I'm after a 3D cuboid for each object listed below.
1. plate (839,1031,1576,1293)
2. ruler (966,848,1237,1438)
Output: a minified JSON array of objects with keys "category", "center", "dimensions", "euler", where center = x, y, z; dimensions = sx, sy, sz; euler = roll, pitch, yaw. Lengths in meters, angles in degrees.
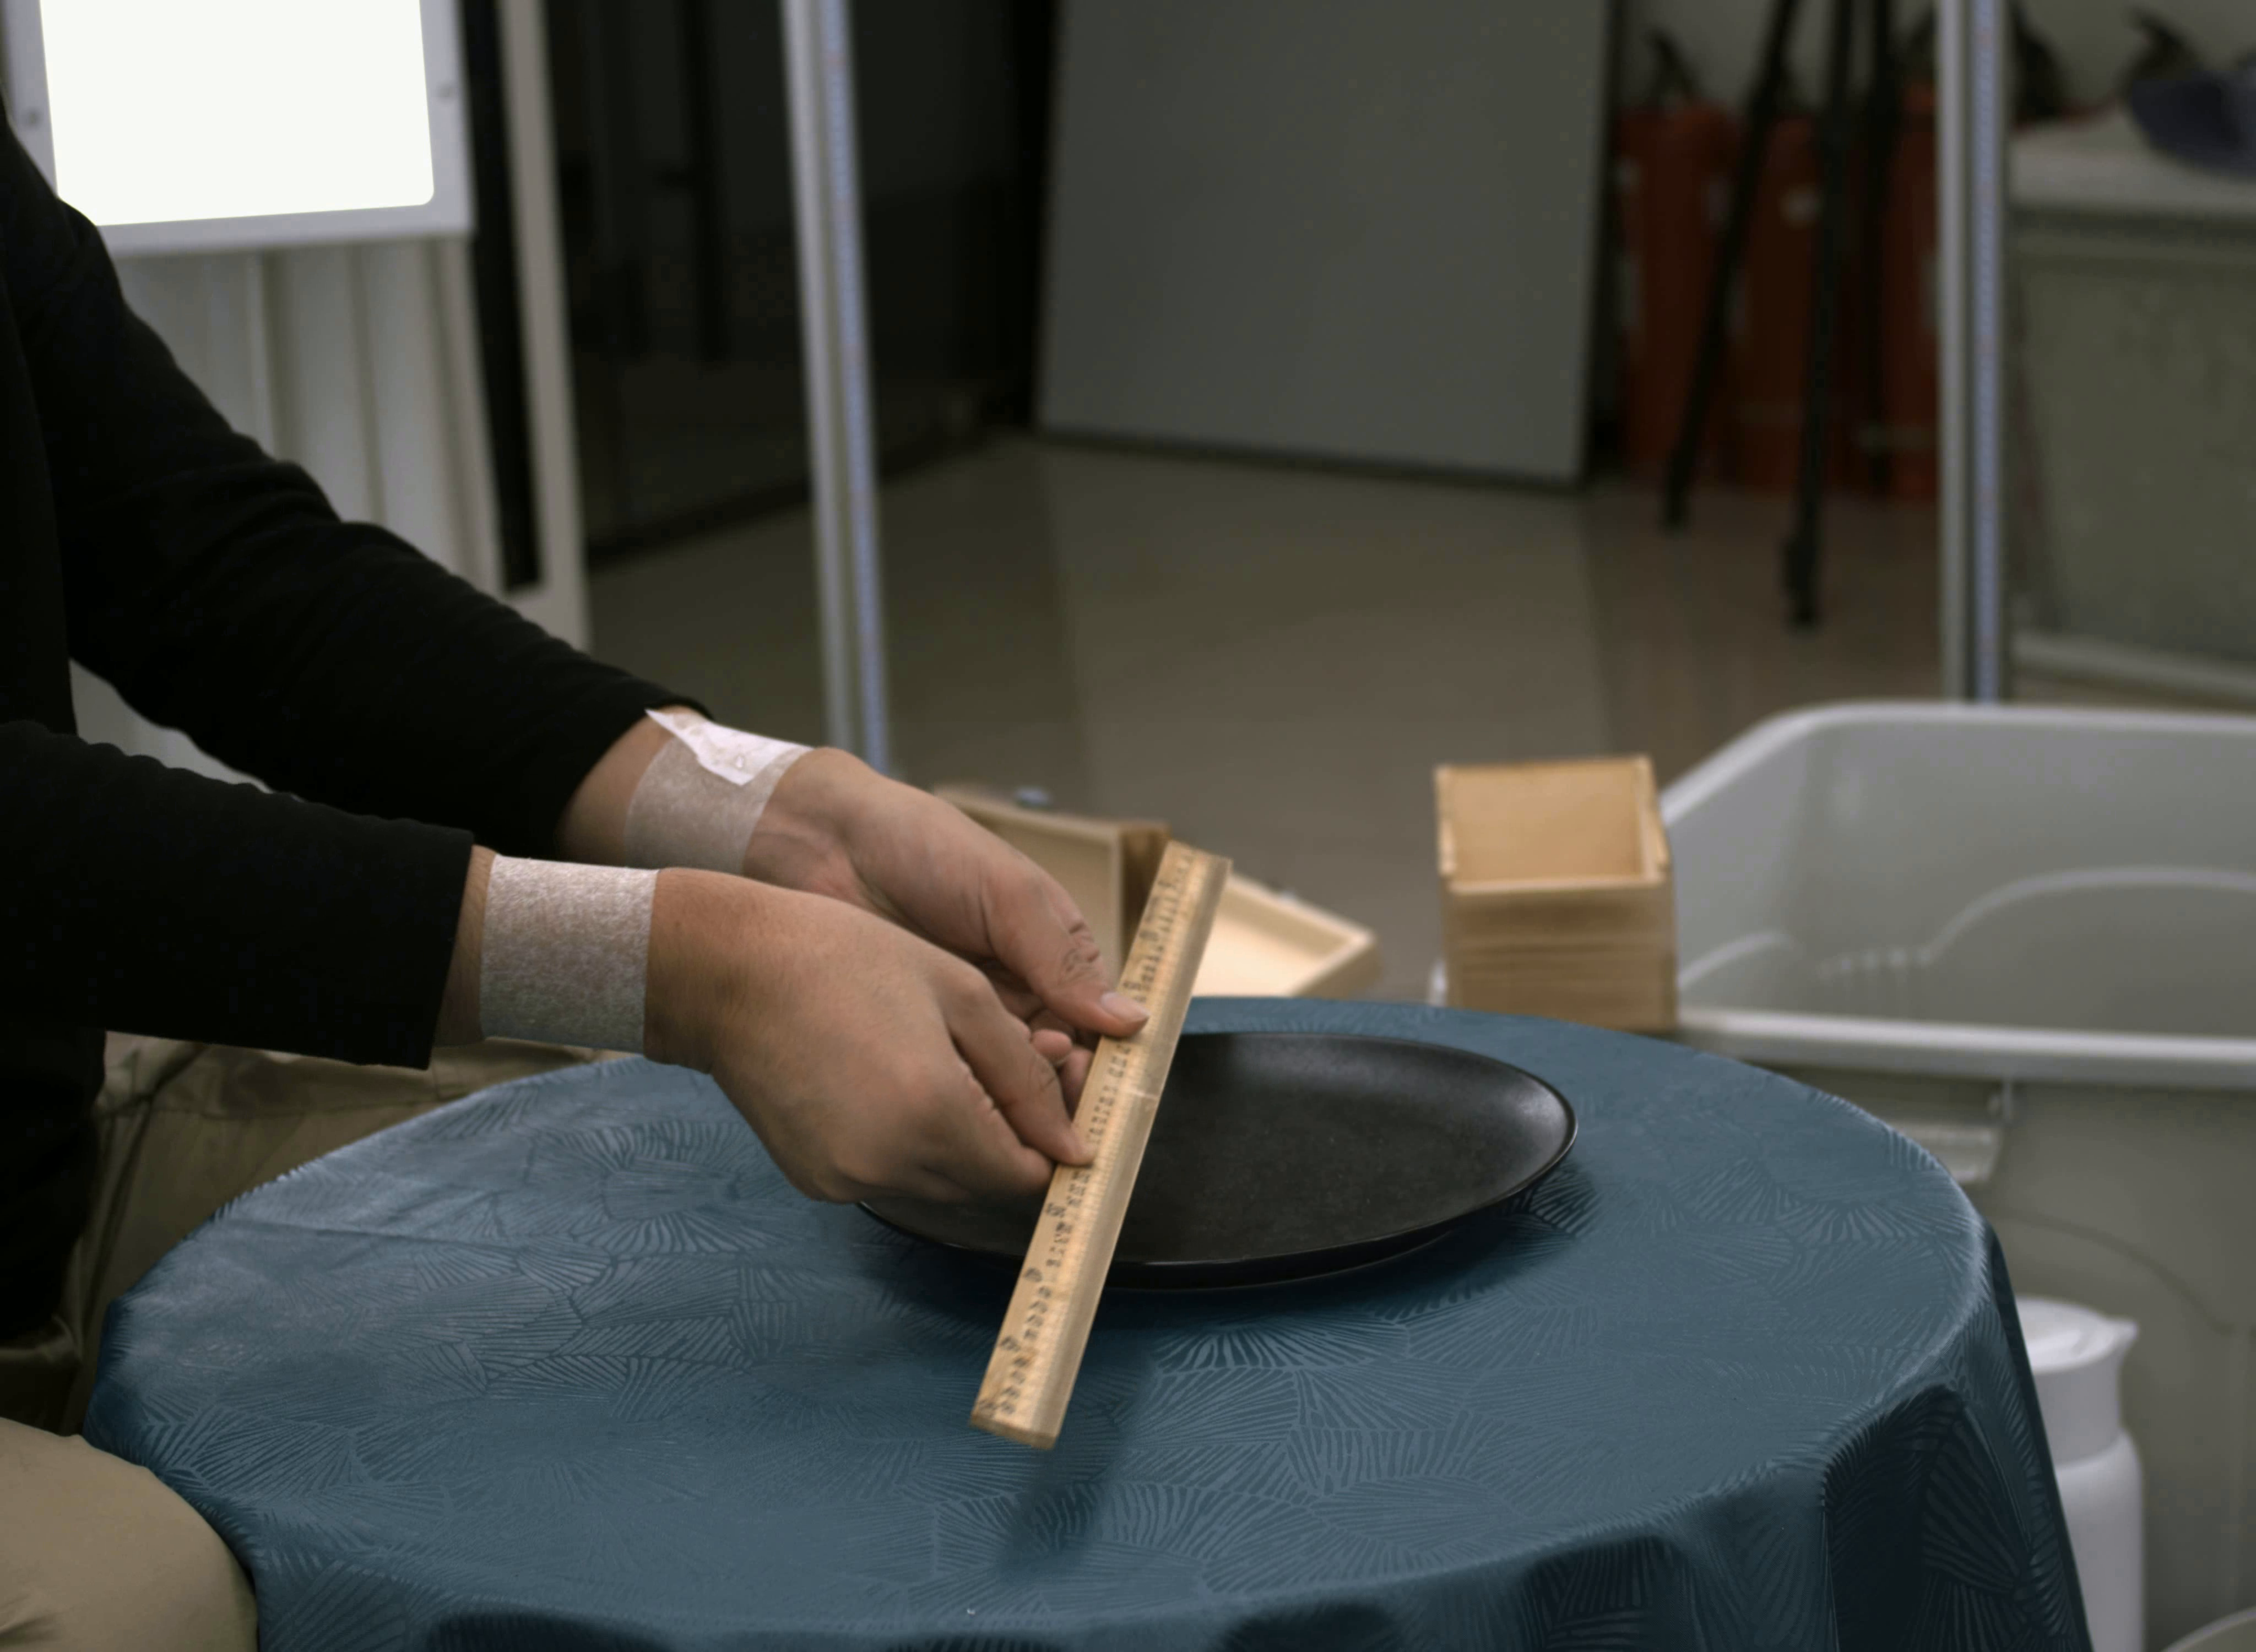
[{"category":"plate","center":[0.027,0.111,1.753],"dimensions":[0.241,0.024,0.245],"euler":[-5,14,0]},{"category":"ruler","center":[-0.003,0.087,1.703],"dimensions":[0.026,0.006,0.499],"euler":[15,19,2]}]
